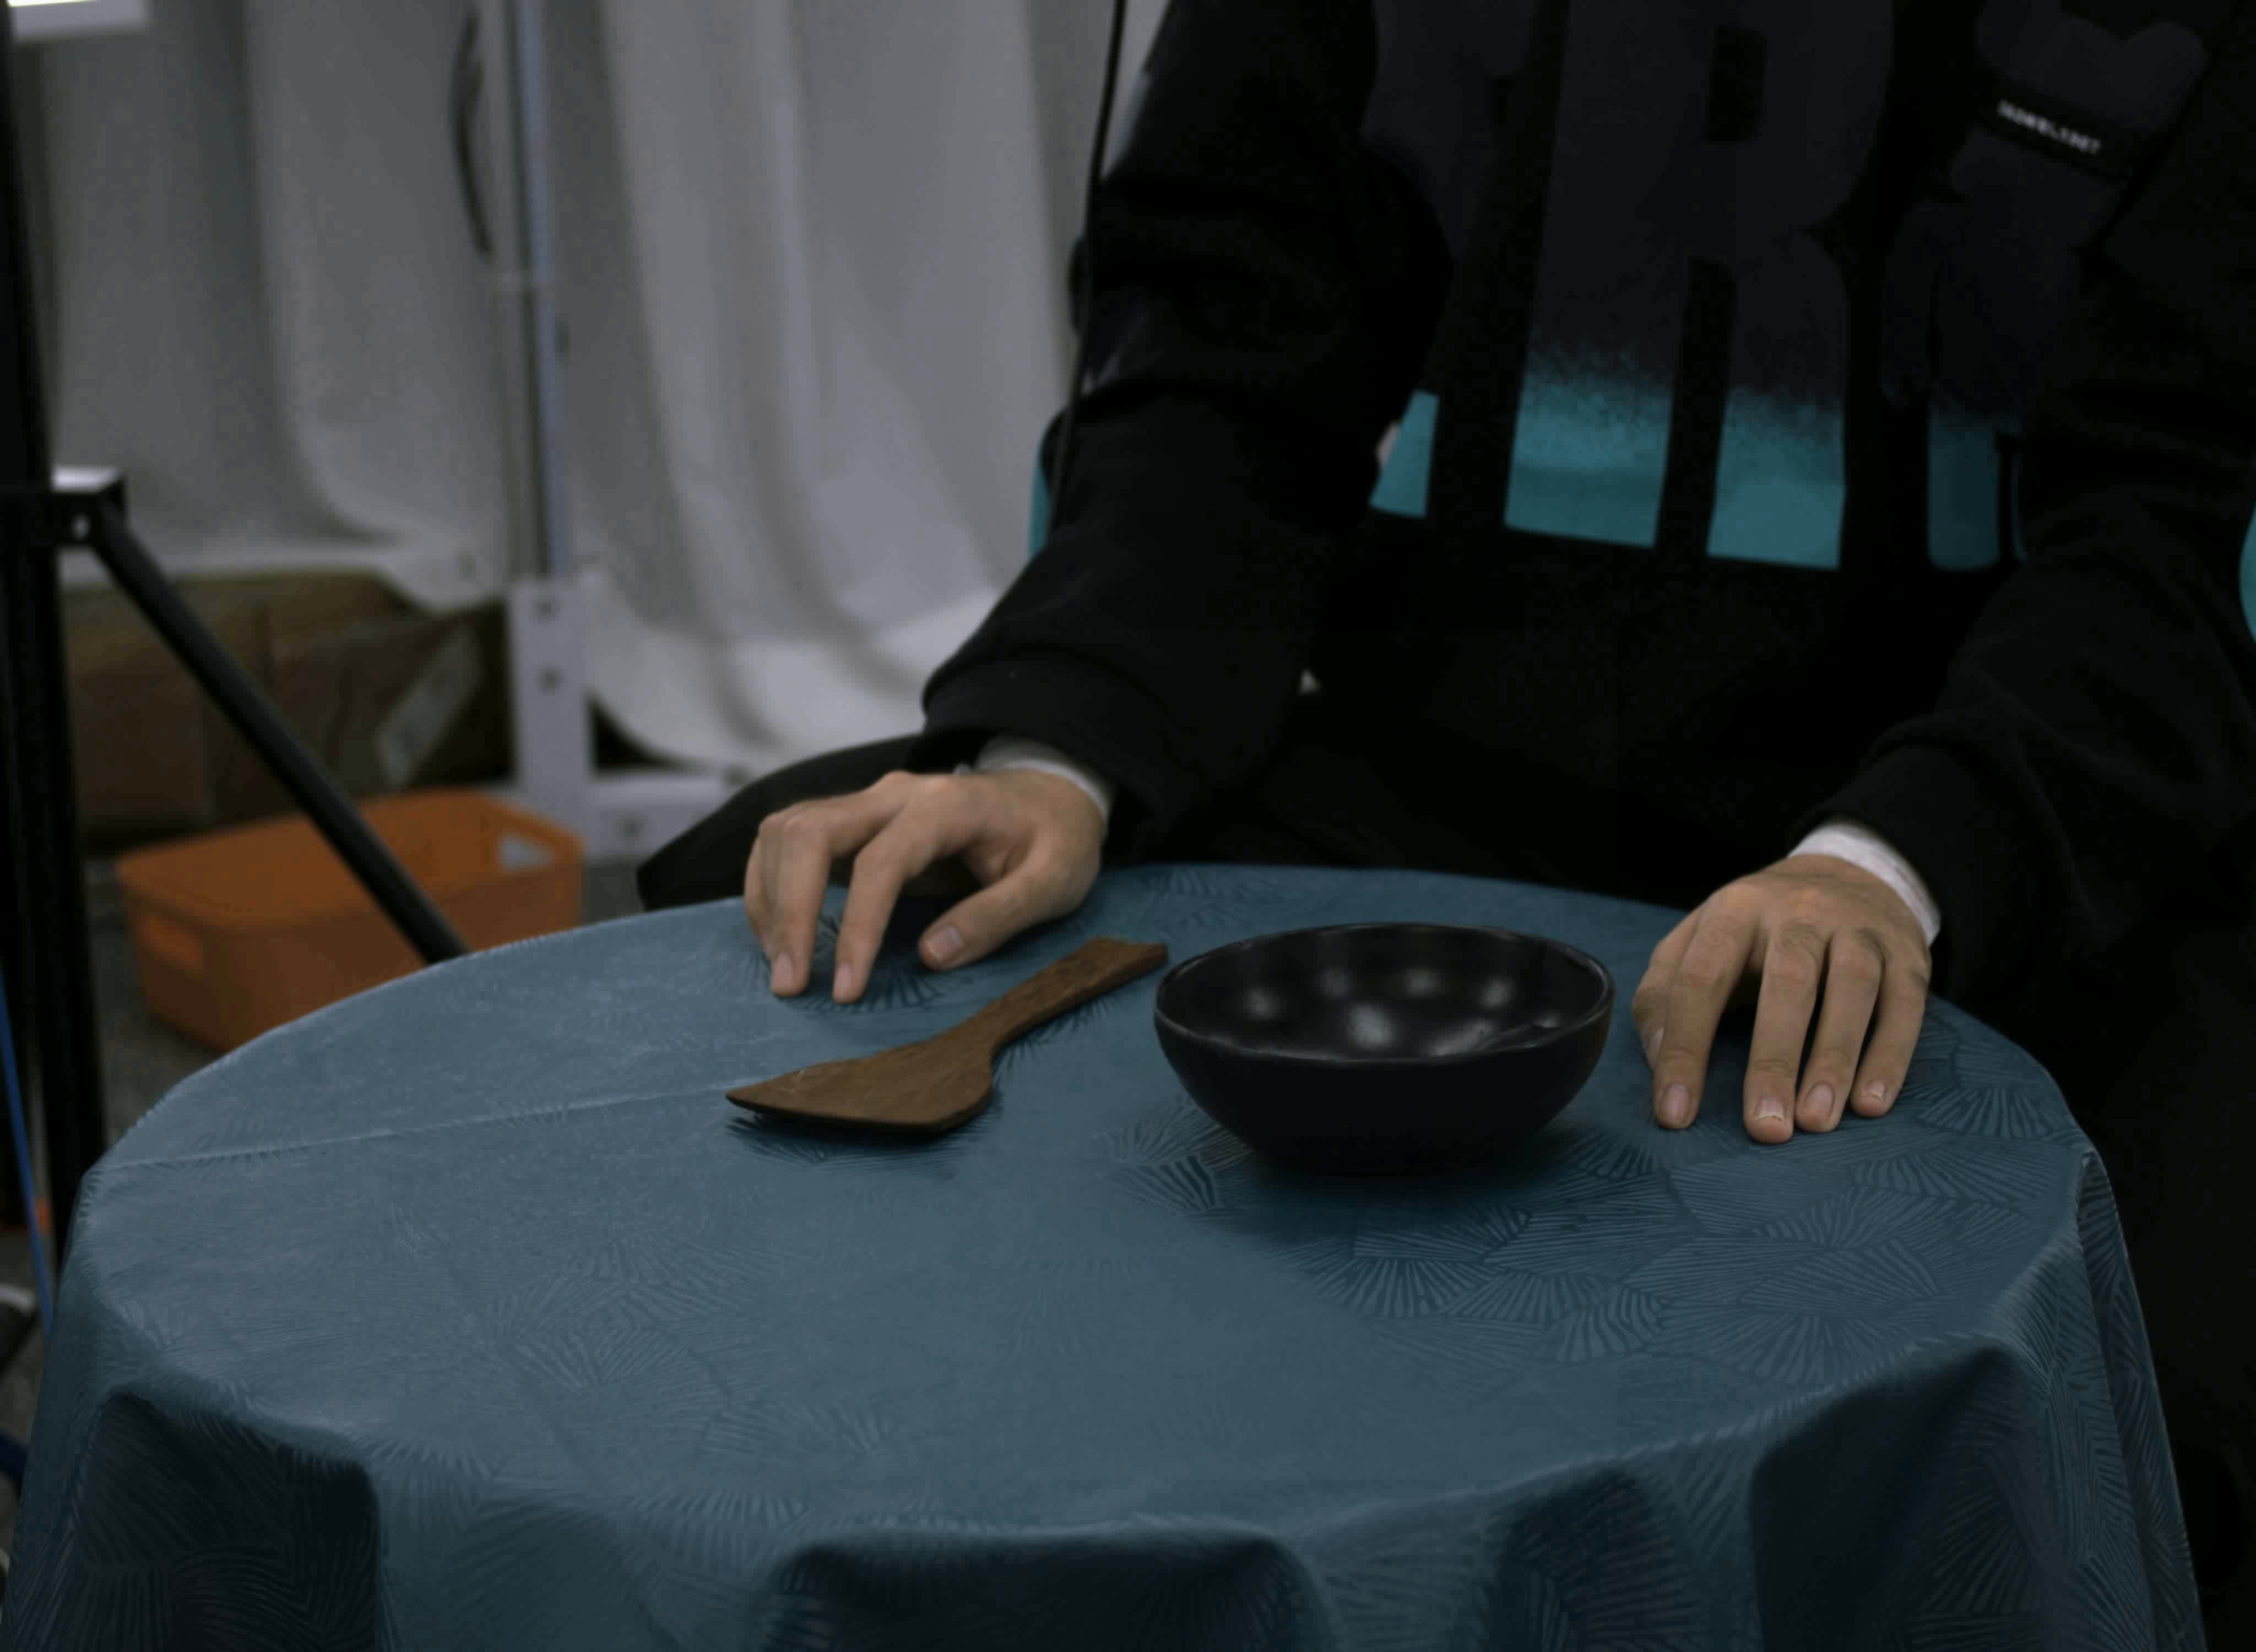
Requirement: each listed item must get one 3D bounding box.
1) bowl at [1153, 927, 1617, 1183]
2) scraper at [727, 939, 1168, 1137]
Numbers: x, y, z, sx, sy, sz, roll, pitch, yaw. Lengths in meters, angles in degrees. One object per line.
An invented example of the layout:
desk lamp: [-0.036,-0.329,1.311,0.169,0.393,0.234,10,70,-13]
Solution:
bowl: [0.078,0.073,1.582,0.139,0.050,0.140,-5,14,0]
scraper: [-0.045,0.066,1.700,0.077,0.011,0.207,7,18,28]
